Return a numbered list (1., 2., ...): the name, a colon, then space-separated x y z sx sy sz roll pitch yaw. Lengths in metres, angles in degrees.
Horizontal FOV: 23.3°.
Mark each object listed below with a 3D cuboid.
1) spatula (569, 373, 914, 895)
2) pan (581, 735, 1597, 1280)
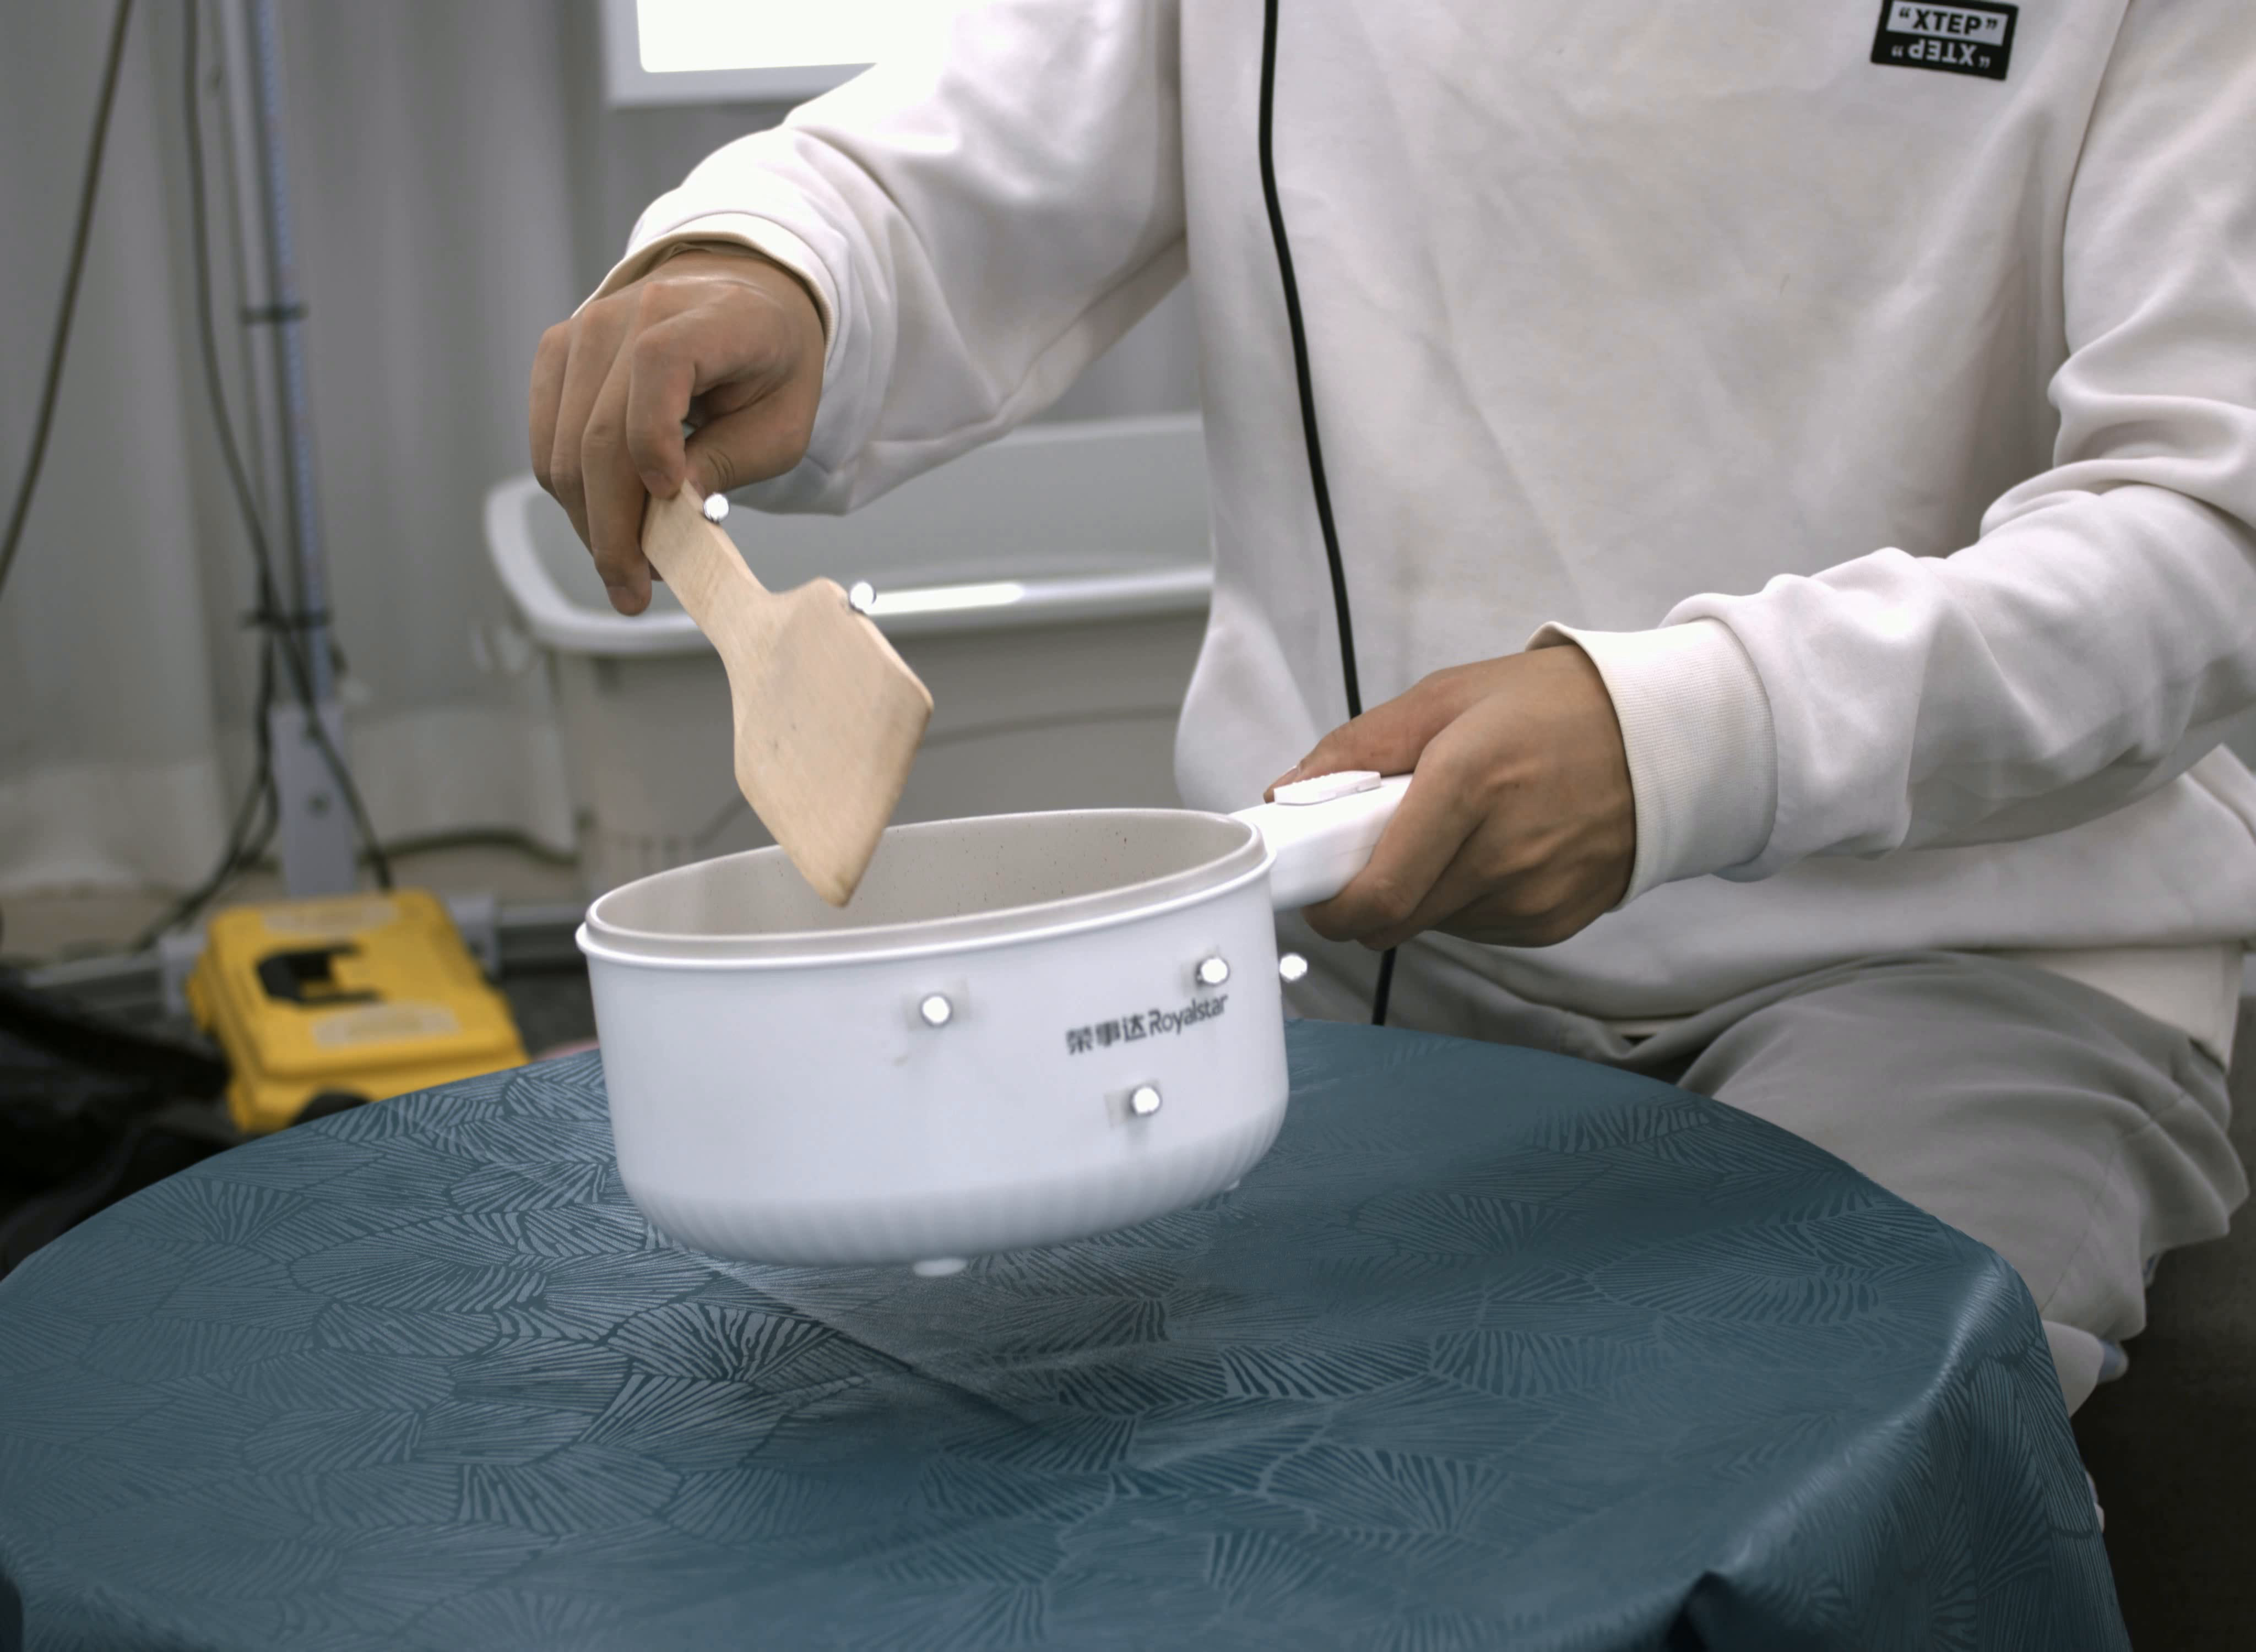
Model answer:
1. spatula: -0.125 -0.074 1.661 0.010 0.072 0.297 14 20 -28
2. pan: 0.005 0.049 1.616 0.354 0.102 0.202 -13 10 -40
